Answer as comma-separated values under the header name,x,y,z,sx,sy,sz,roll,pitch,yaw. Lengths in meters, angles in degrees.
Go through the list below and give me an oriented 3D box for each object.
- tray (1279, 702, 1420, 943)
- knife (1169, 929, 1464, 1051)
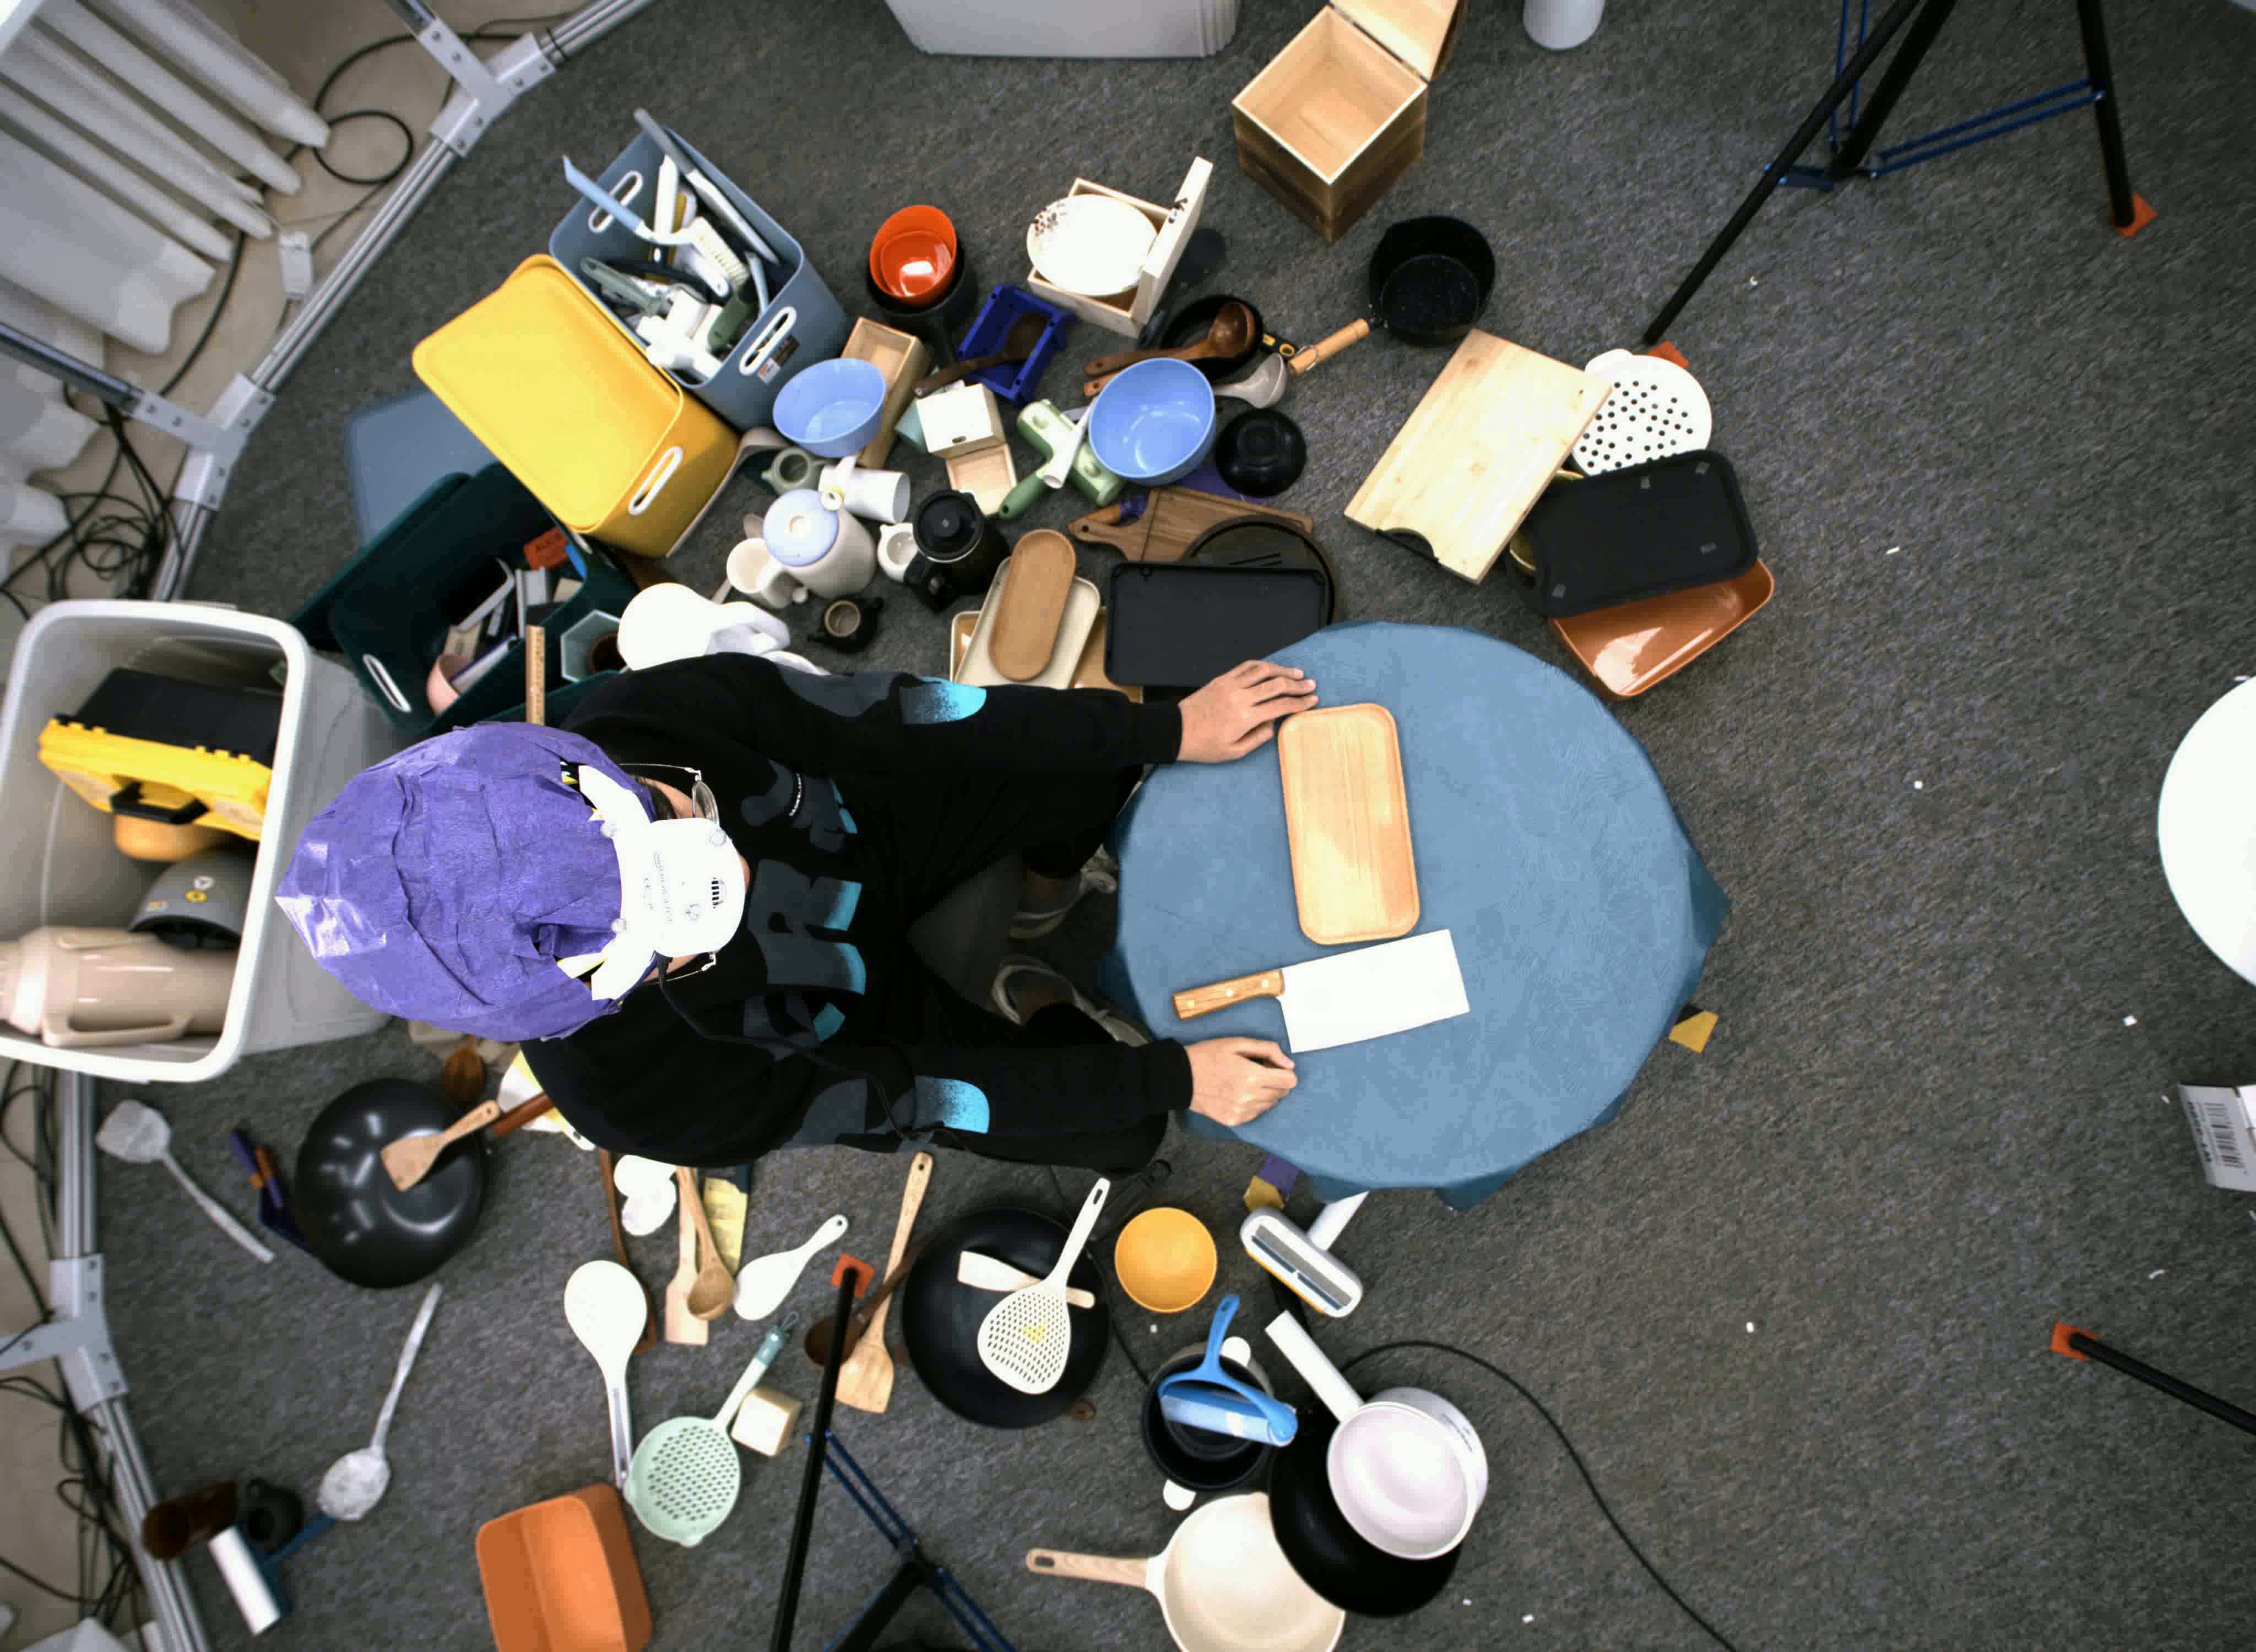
name,x,y,z,sx,sy,sz,roll,pitch,yaw
tray,0.234,-0.005,1.463,0.131,0.023,0.249,-5,85,8
knife,0.199,0.184,1.459,0.307,0.021,0.092,-14,86,7
